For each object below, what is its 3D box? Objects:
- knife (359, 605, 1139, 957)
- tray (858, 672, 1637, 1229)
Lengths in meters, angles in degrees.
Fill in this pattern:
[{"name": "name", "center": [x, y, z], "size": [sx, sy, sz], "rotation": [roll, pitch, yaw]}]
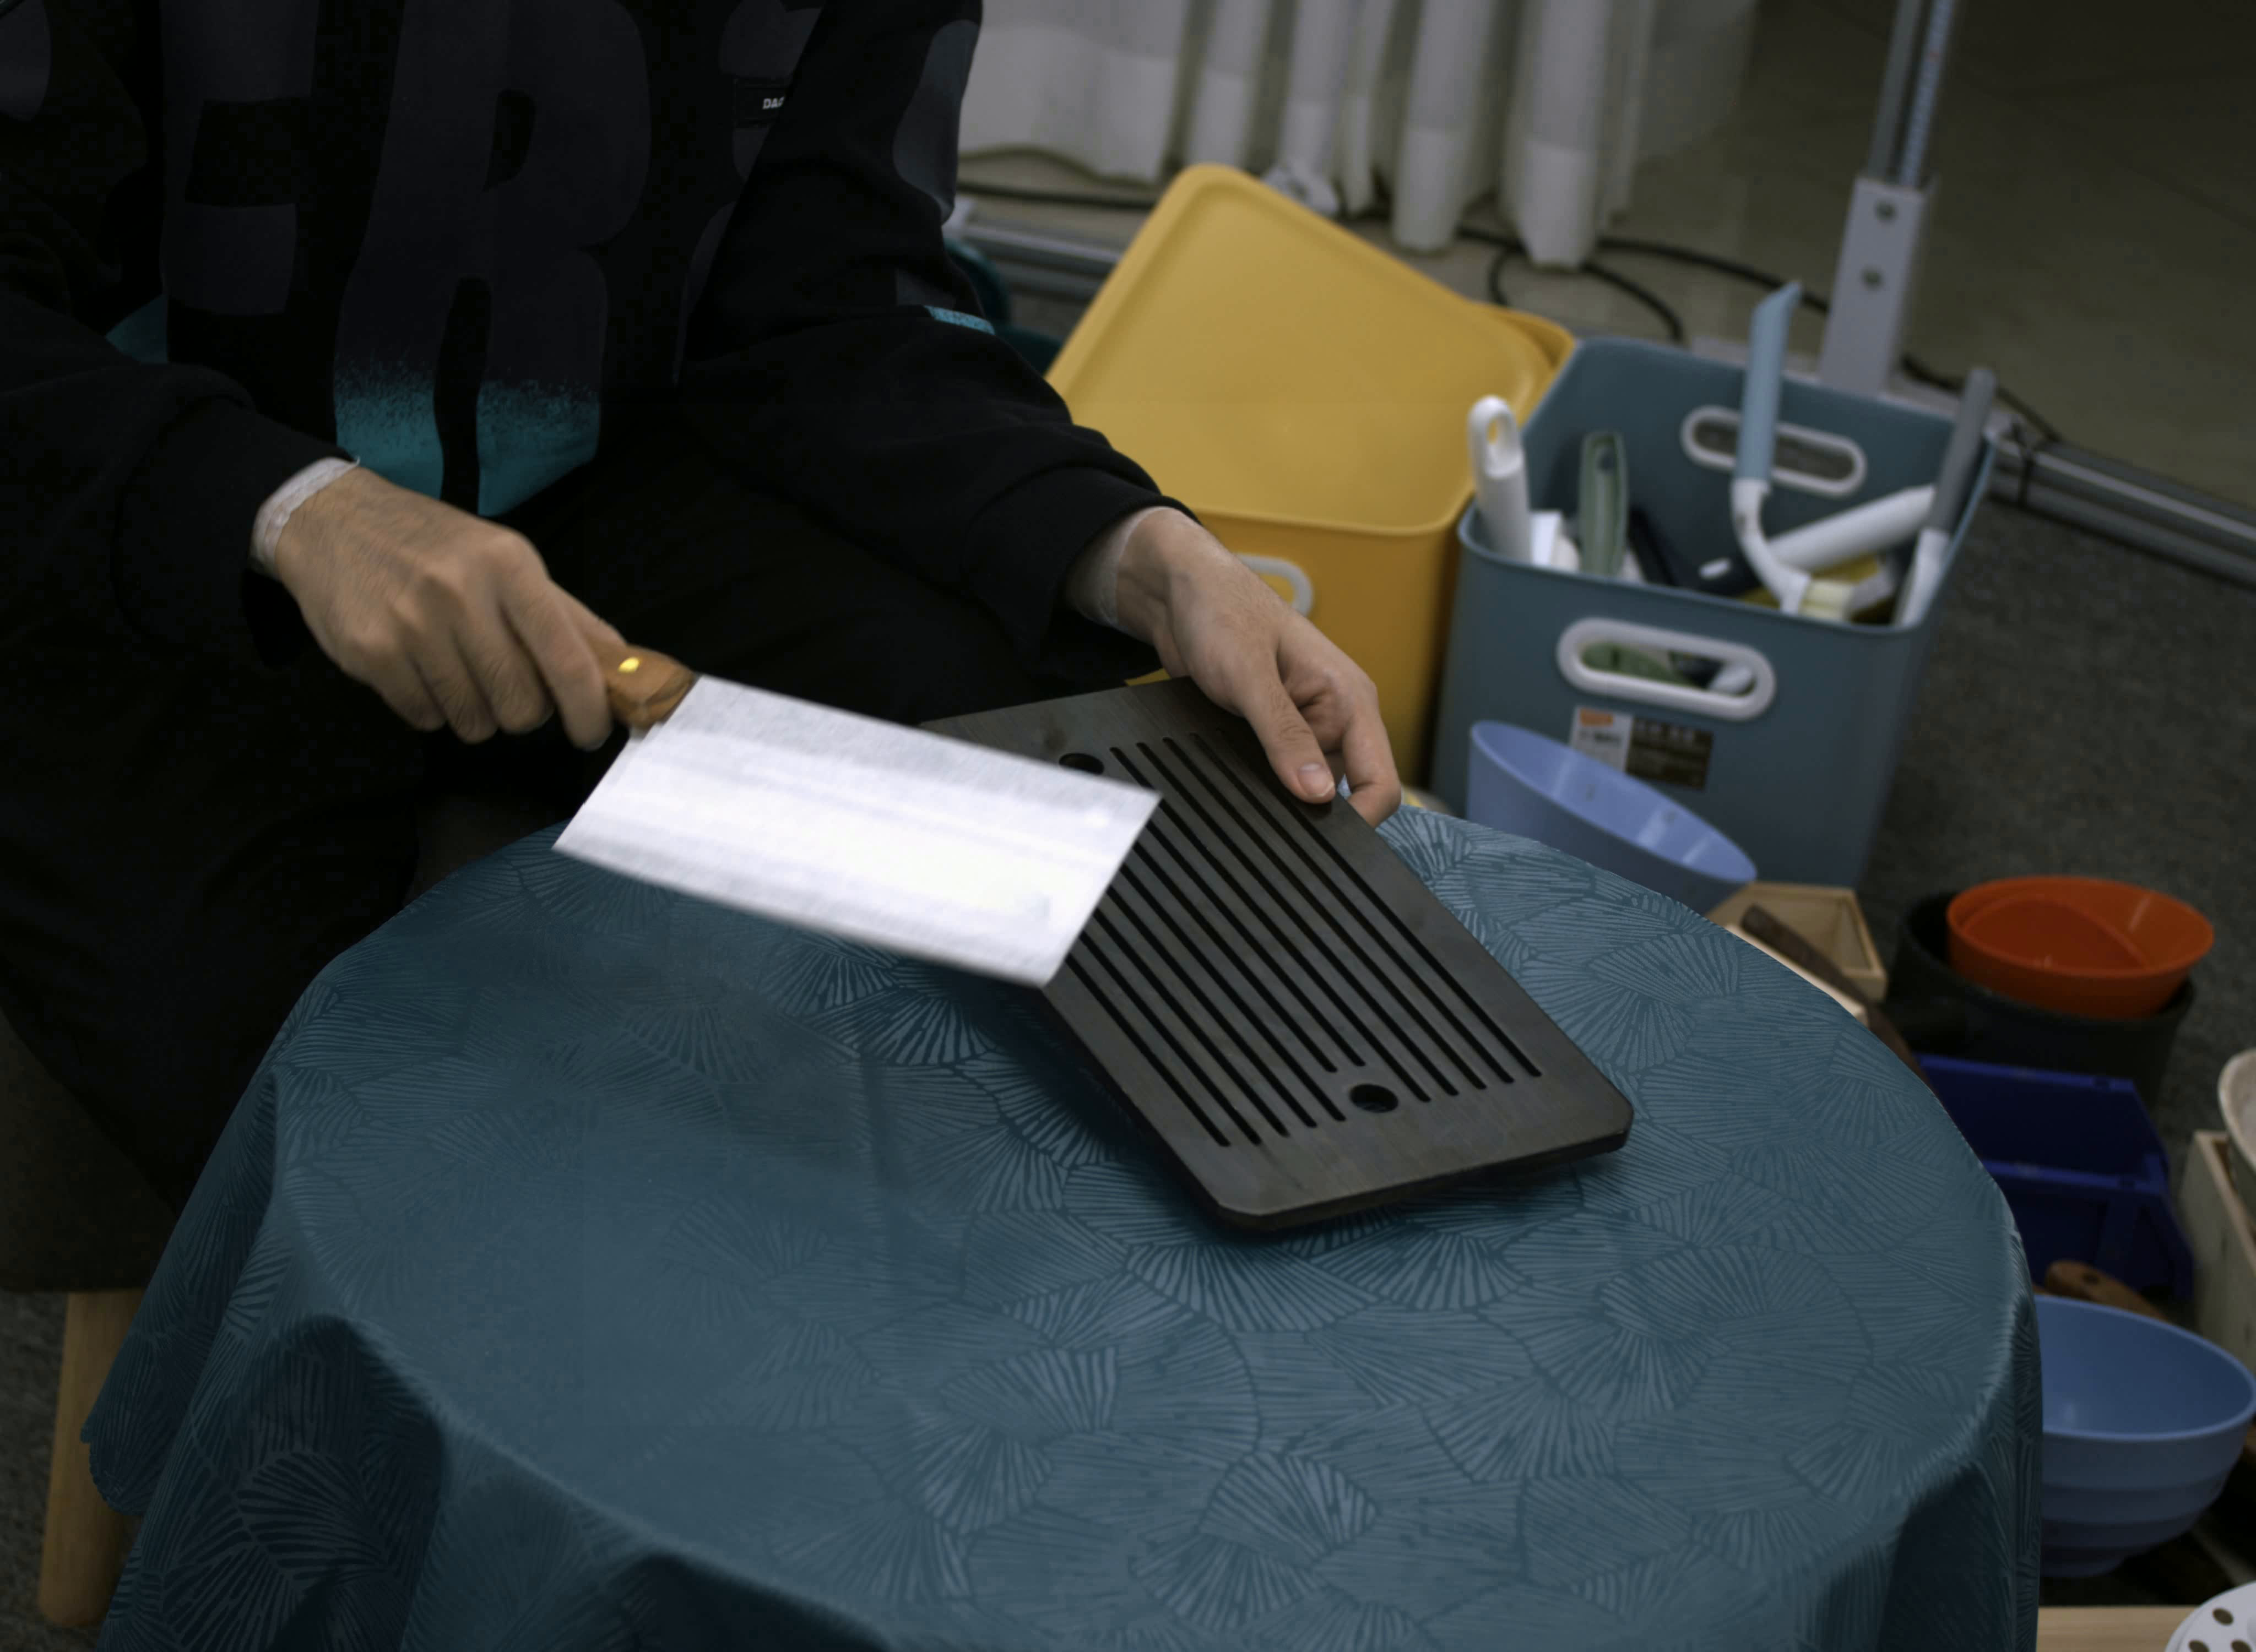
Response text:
[{"name": "knife", "center": [-0.145, -0.013, 1.824], "size": [0.307, 0.021, 0.093], "rotation": [15, 53, 24]}, {"name": "tray", "center": [0.037, 0.041, 1.916], "size": [0.169, 0.018, 0.309], "rotation": [-11, 38, -27]}]
